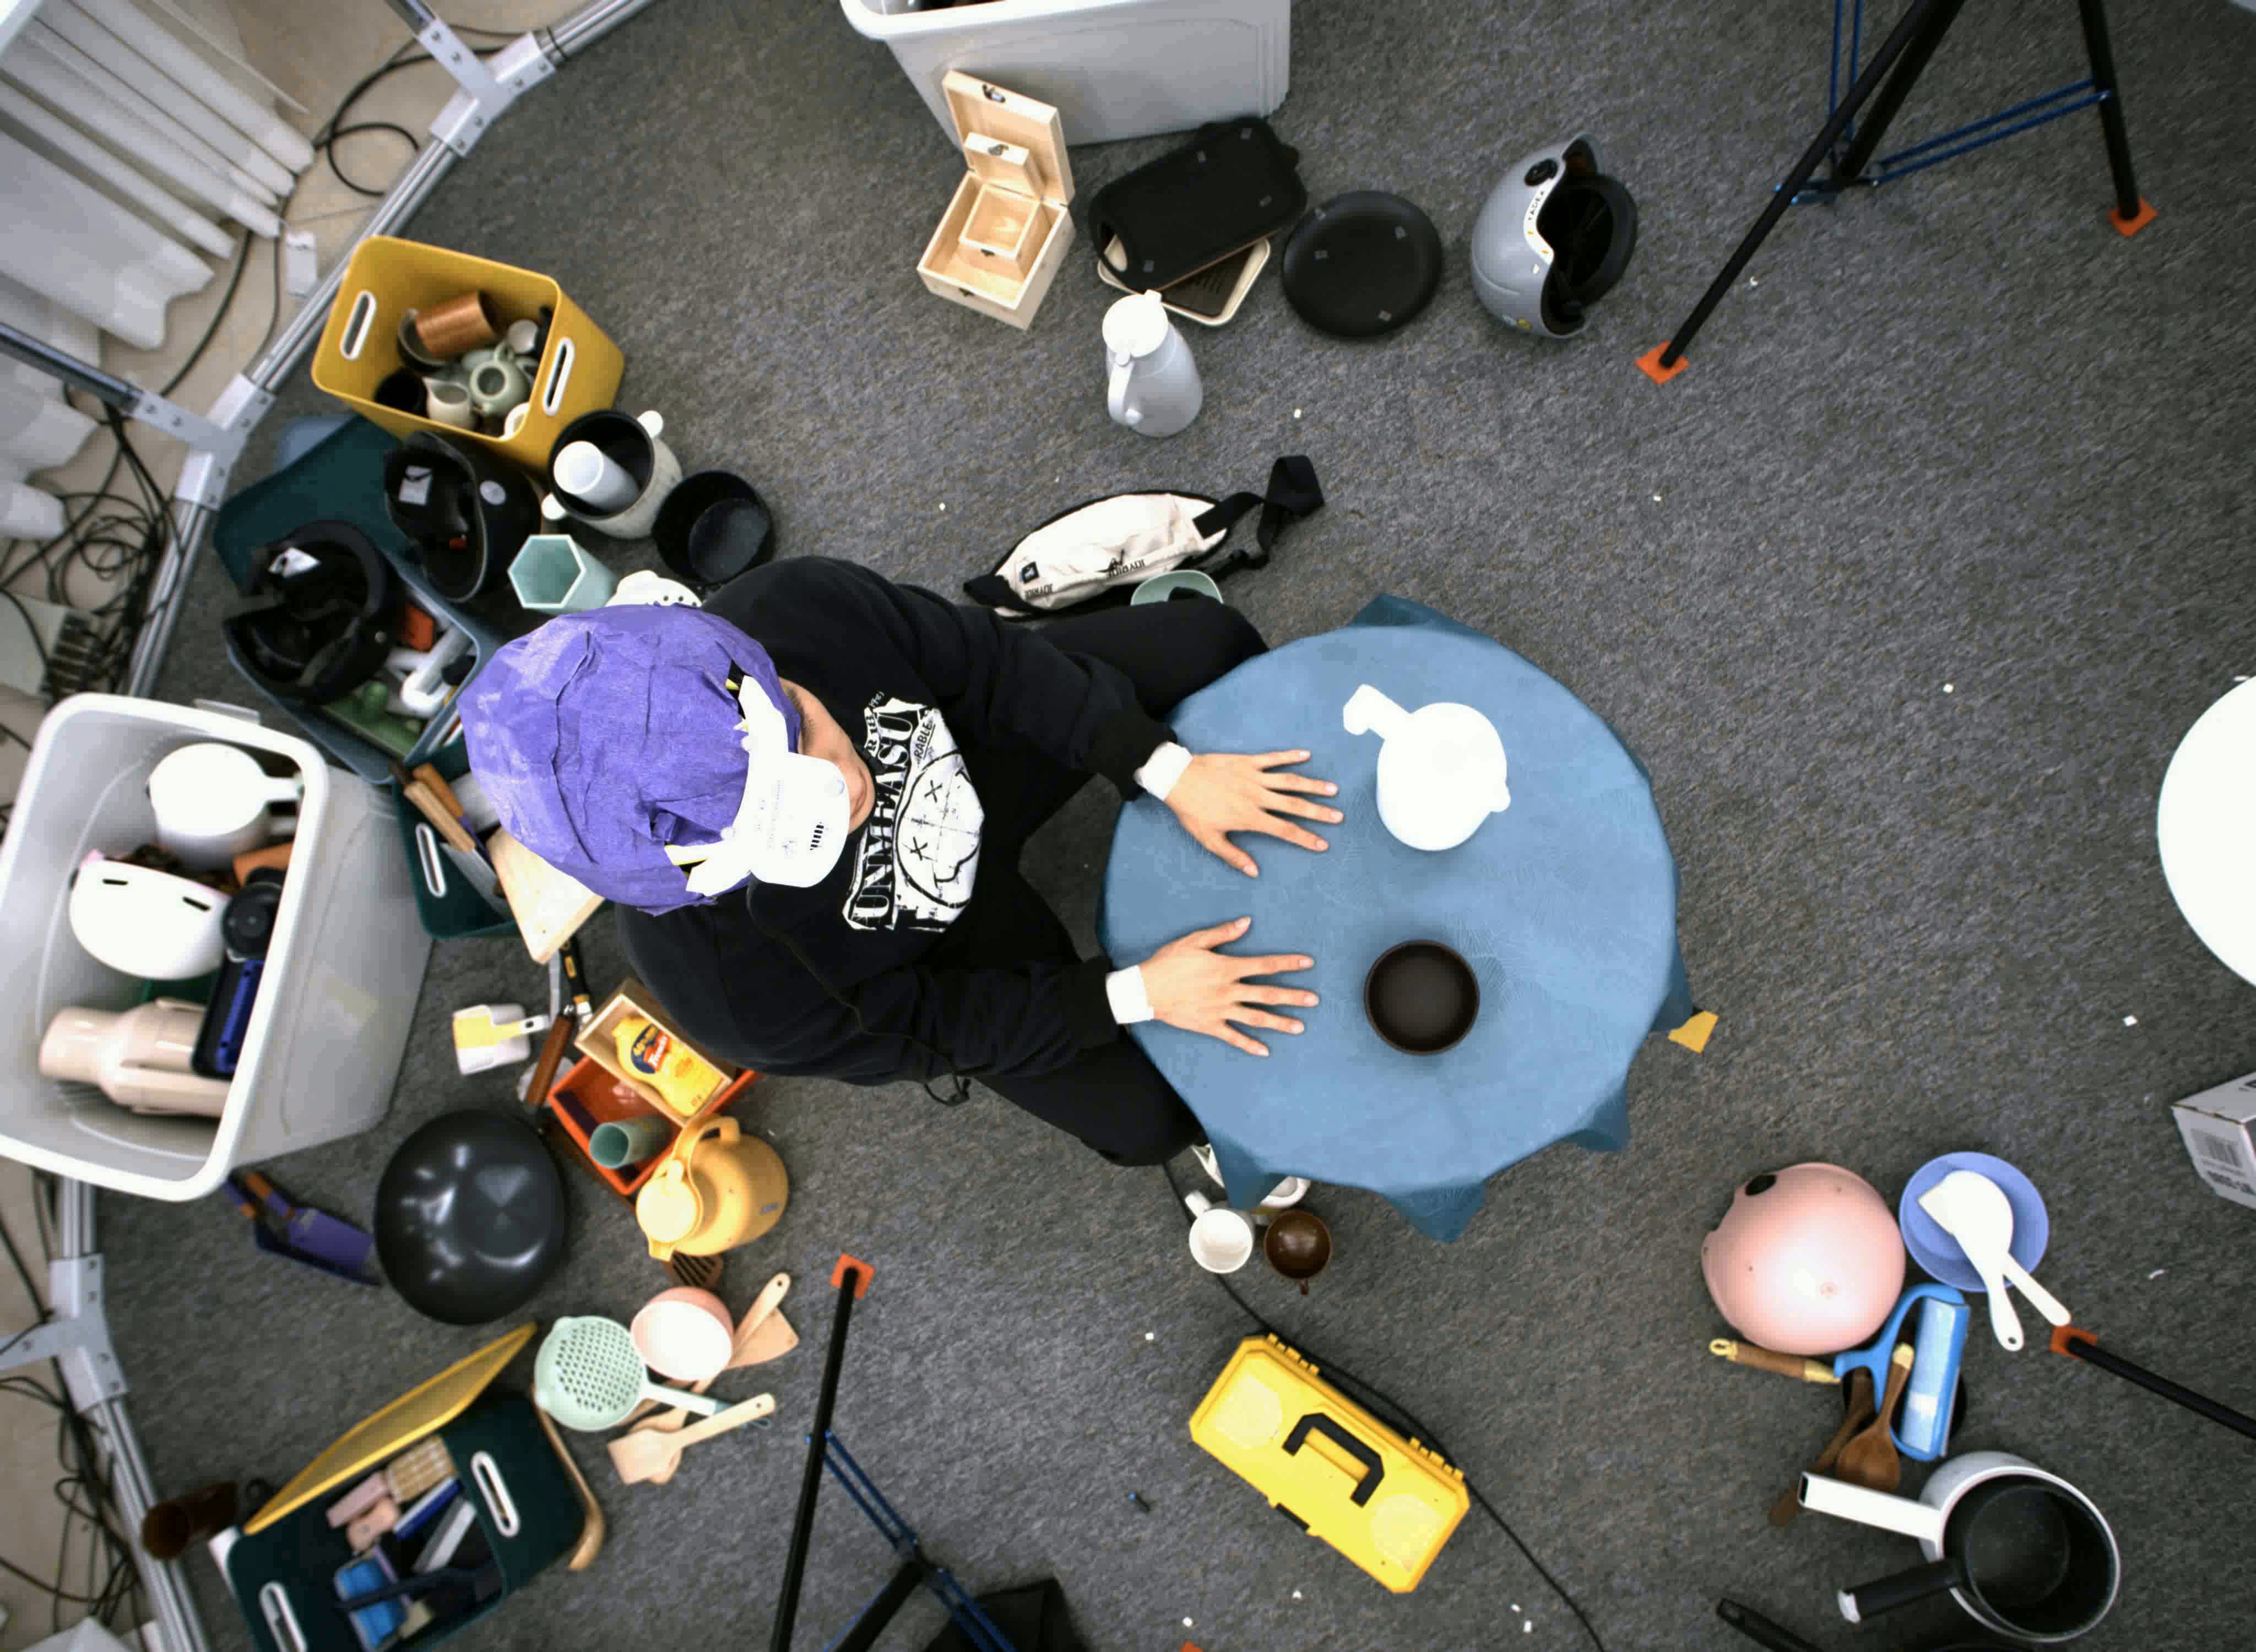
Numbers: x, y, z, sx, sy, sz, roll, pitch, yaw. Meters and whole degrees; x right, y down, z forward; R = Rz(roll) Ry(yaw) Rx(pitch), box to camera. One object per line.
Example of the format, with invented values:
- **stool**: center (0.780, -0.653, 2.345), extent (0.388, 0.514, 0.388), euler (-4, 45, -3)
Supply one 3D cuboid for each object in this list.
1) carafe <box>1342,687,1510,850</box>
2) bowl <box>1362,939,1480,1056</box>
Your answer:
- **carafe**: center (0.284, -0.056, 1.329), extent (0.172, 0.268, 0.124), euler (37, 94, 11)
- **bowl**: center (0.299, 0.173, 1.413), extent (0.118, 0.070, 0.117), euler (-1, 87, 11)
